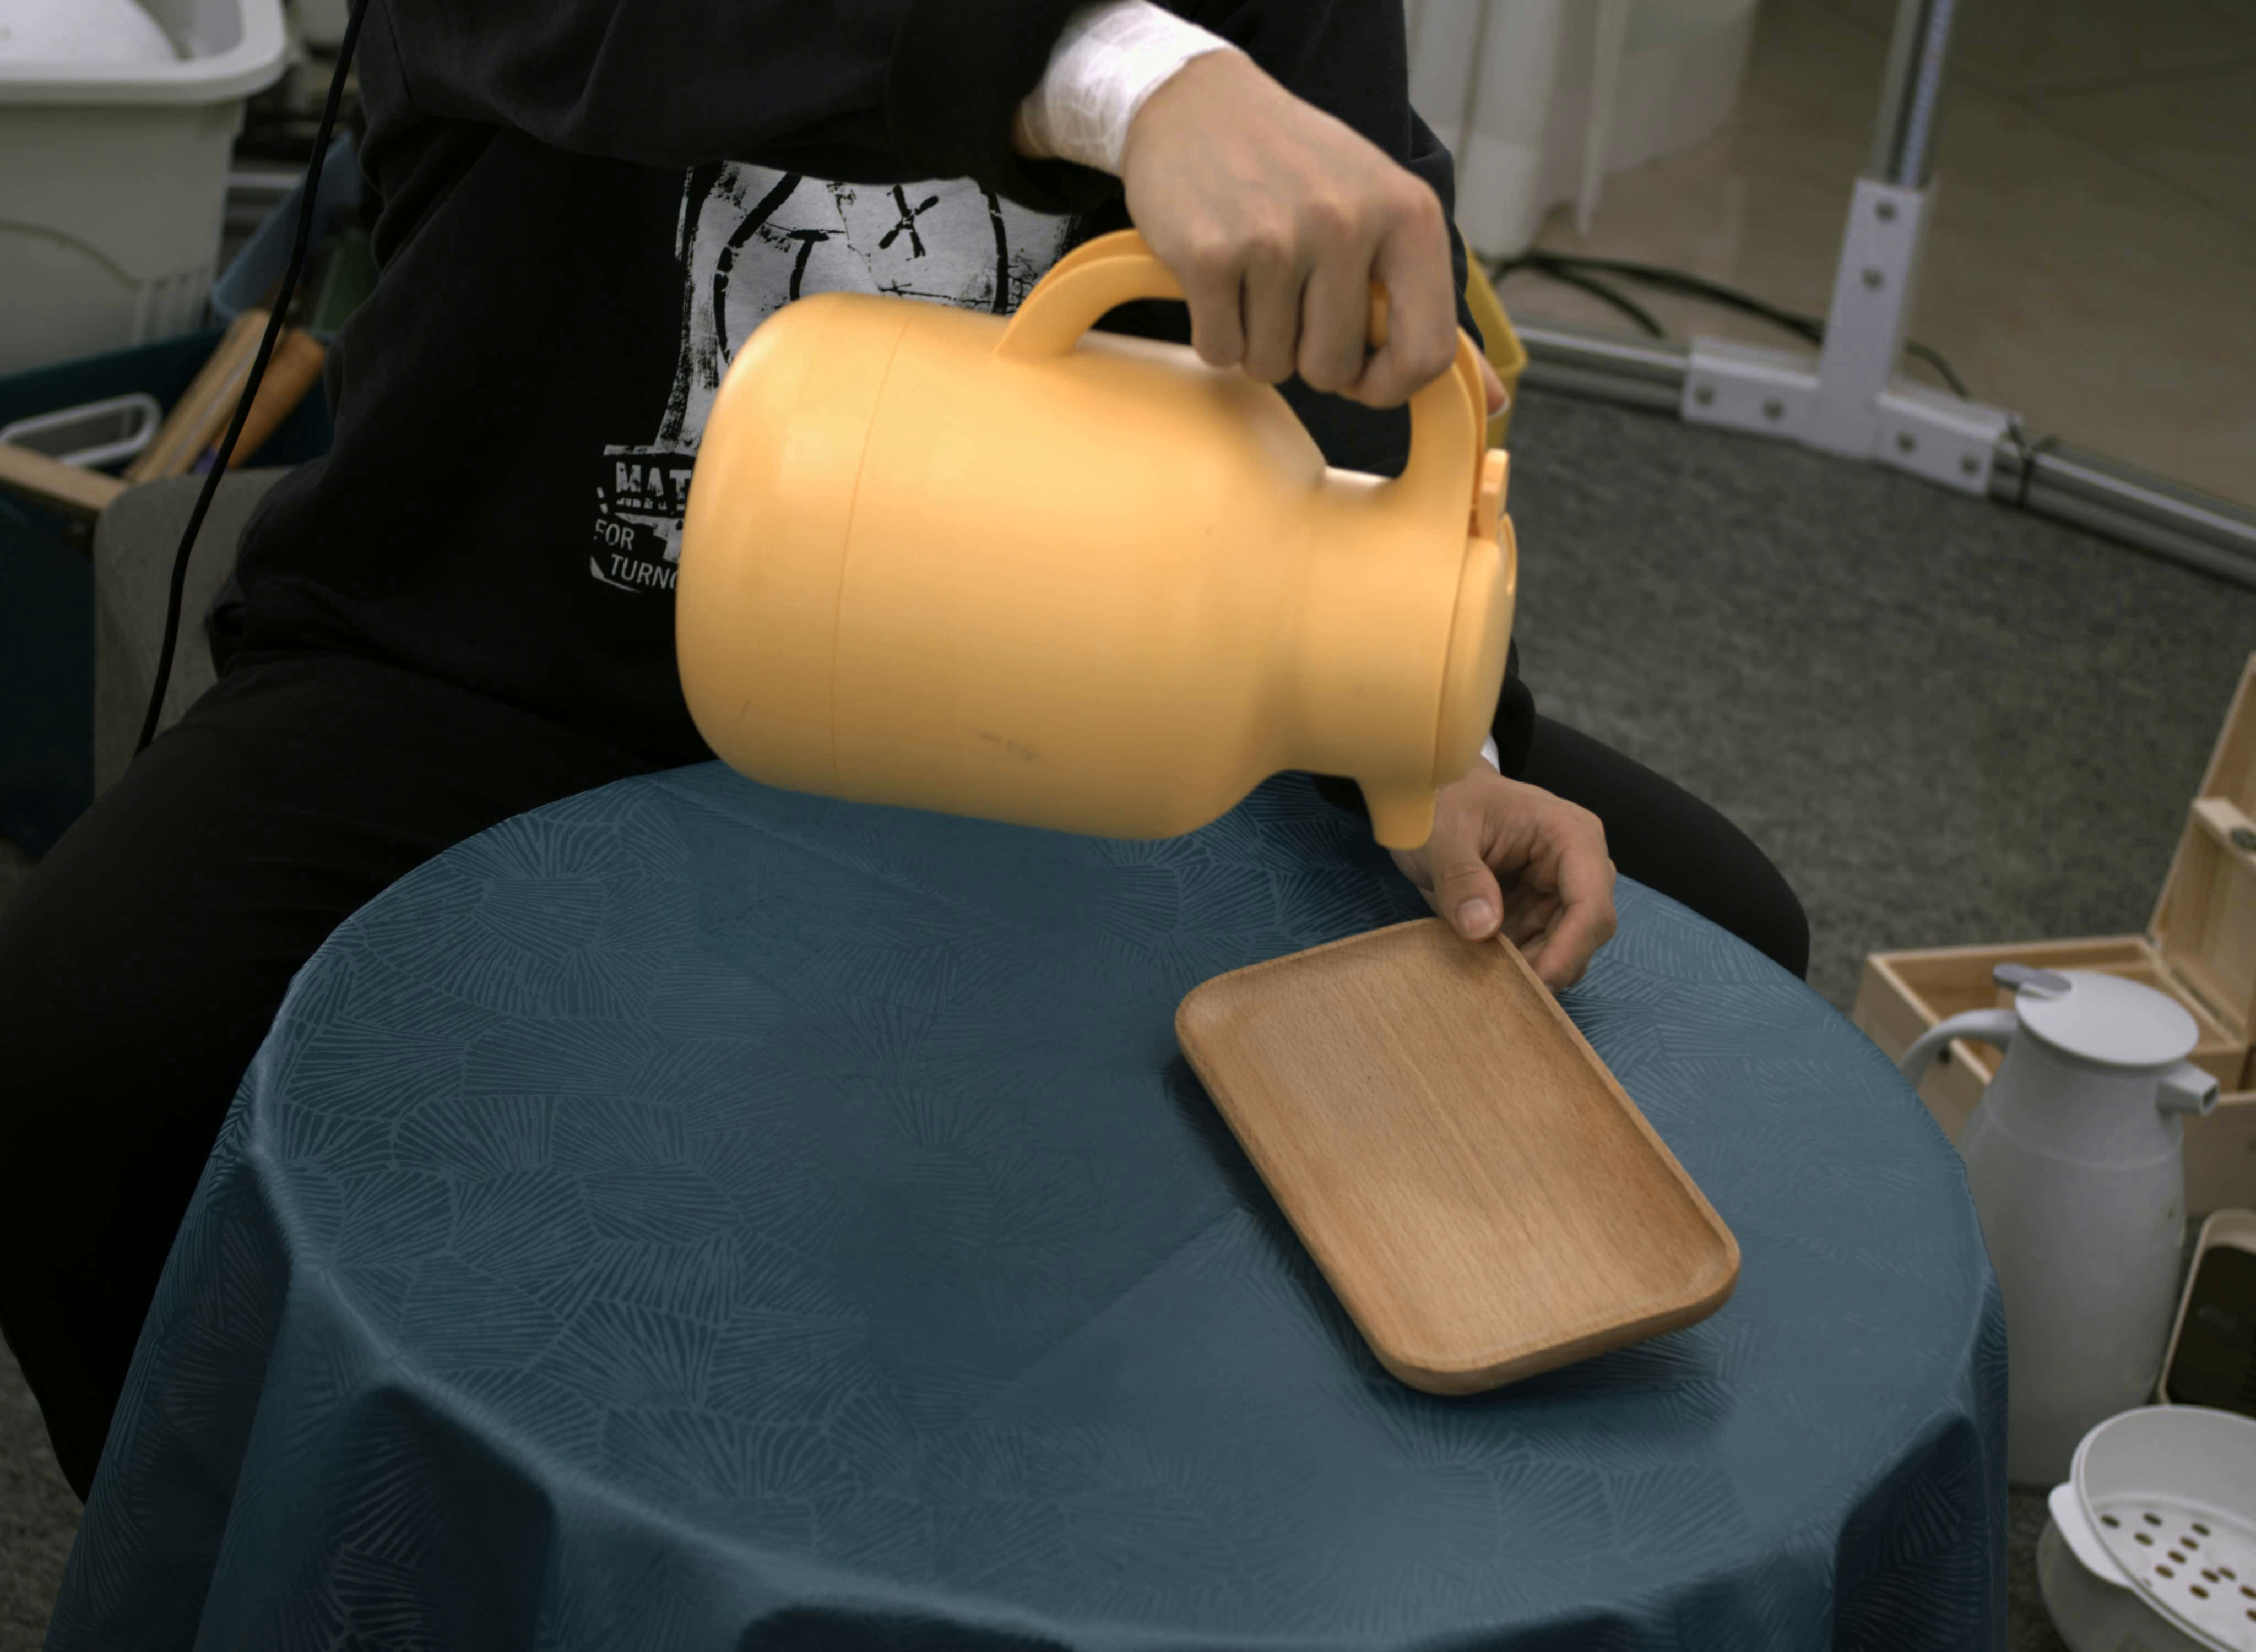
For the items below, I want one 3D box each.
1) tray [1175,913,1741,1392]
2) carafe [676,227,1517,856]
[{"bbox_3d":[0.108,0.108,1.809,0.130,0.023,0.253,-13,32,-12],"label":"tray"},{"bbox_3d":[-0.004,-0.096,1.701,0.260,0.202,0.164,10,24,5],"label":"carafe"}]
